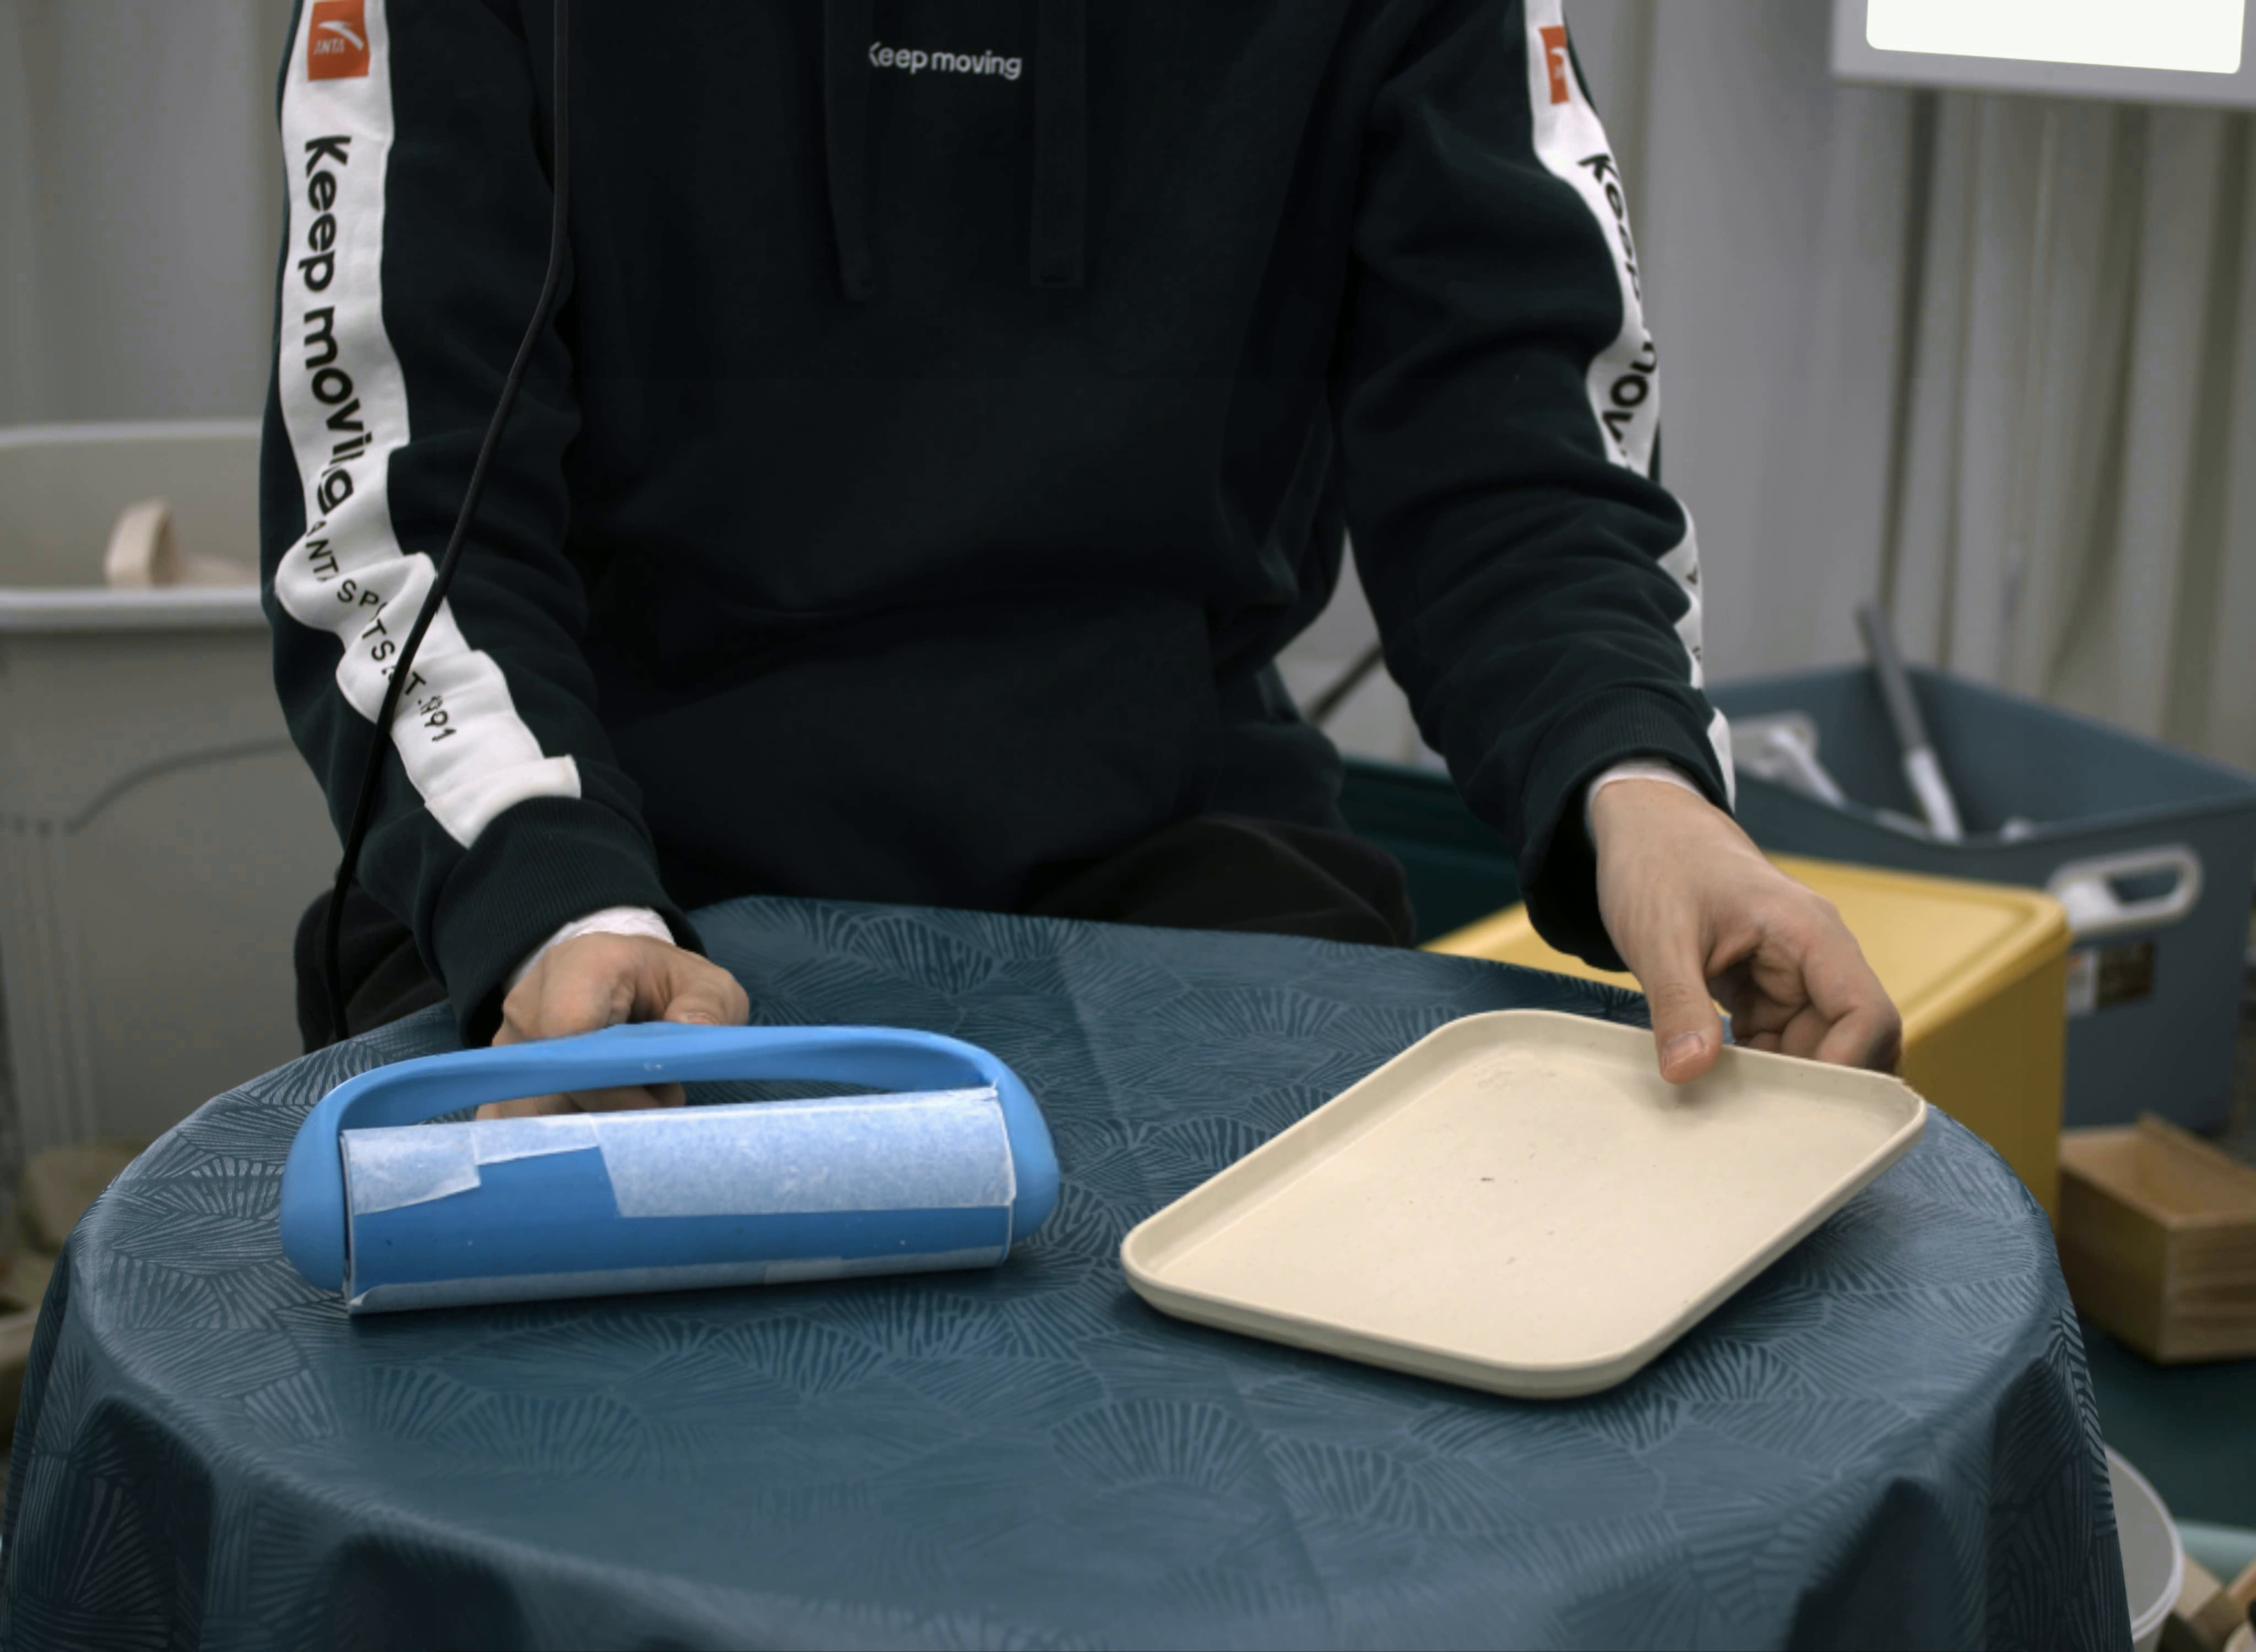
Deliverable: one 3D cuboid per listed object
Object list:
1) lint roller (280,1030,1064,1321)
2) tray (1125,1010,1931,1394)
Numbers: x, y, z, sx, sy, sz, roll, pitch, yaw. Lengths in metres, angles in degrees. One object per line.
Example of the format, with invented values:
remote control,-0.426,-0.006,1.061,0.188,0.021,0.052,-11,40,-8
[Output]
lint roller,-0.146,0.092,1.582,0.229,0.068,0.178,-5,17,-15
tray,0.122,0.110,1.567,0.169,0.017,0.240,9,22,32
